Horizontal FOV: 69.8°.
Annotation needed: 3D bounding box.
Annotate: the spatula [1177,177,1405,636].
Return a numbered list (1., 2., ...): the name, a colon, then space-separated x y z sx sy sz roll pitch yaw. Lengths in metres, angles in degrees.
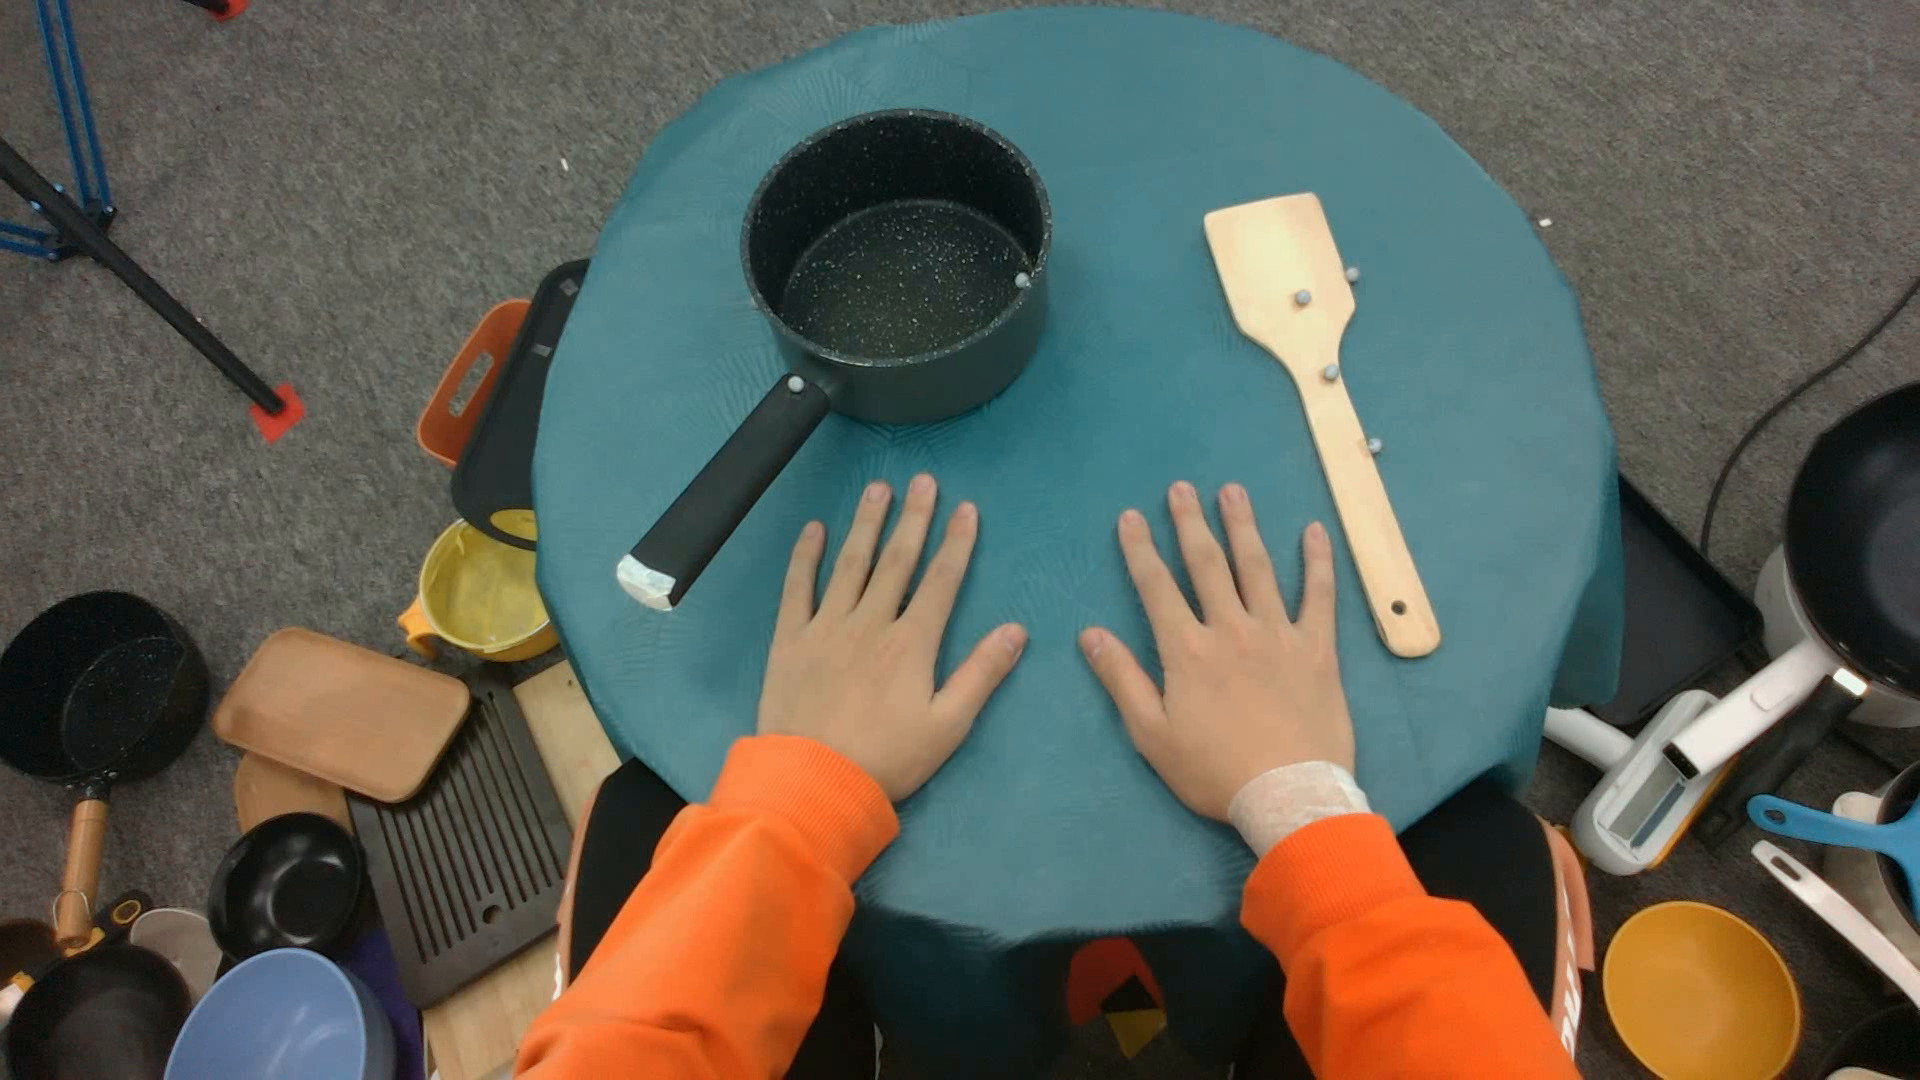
1. spatula: 0.189 -0.082 0.761 0.072 0.010 0.294 -10 65 -4

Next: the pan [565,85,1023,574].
1. pan: -0.090 -0.104 0.749 0.172 0.086 0.330 28 68 16
